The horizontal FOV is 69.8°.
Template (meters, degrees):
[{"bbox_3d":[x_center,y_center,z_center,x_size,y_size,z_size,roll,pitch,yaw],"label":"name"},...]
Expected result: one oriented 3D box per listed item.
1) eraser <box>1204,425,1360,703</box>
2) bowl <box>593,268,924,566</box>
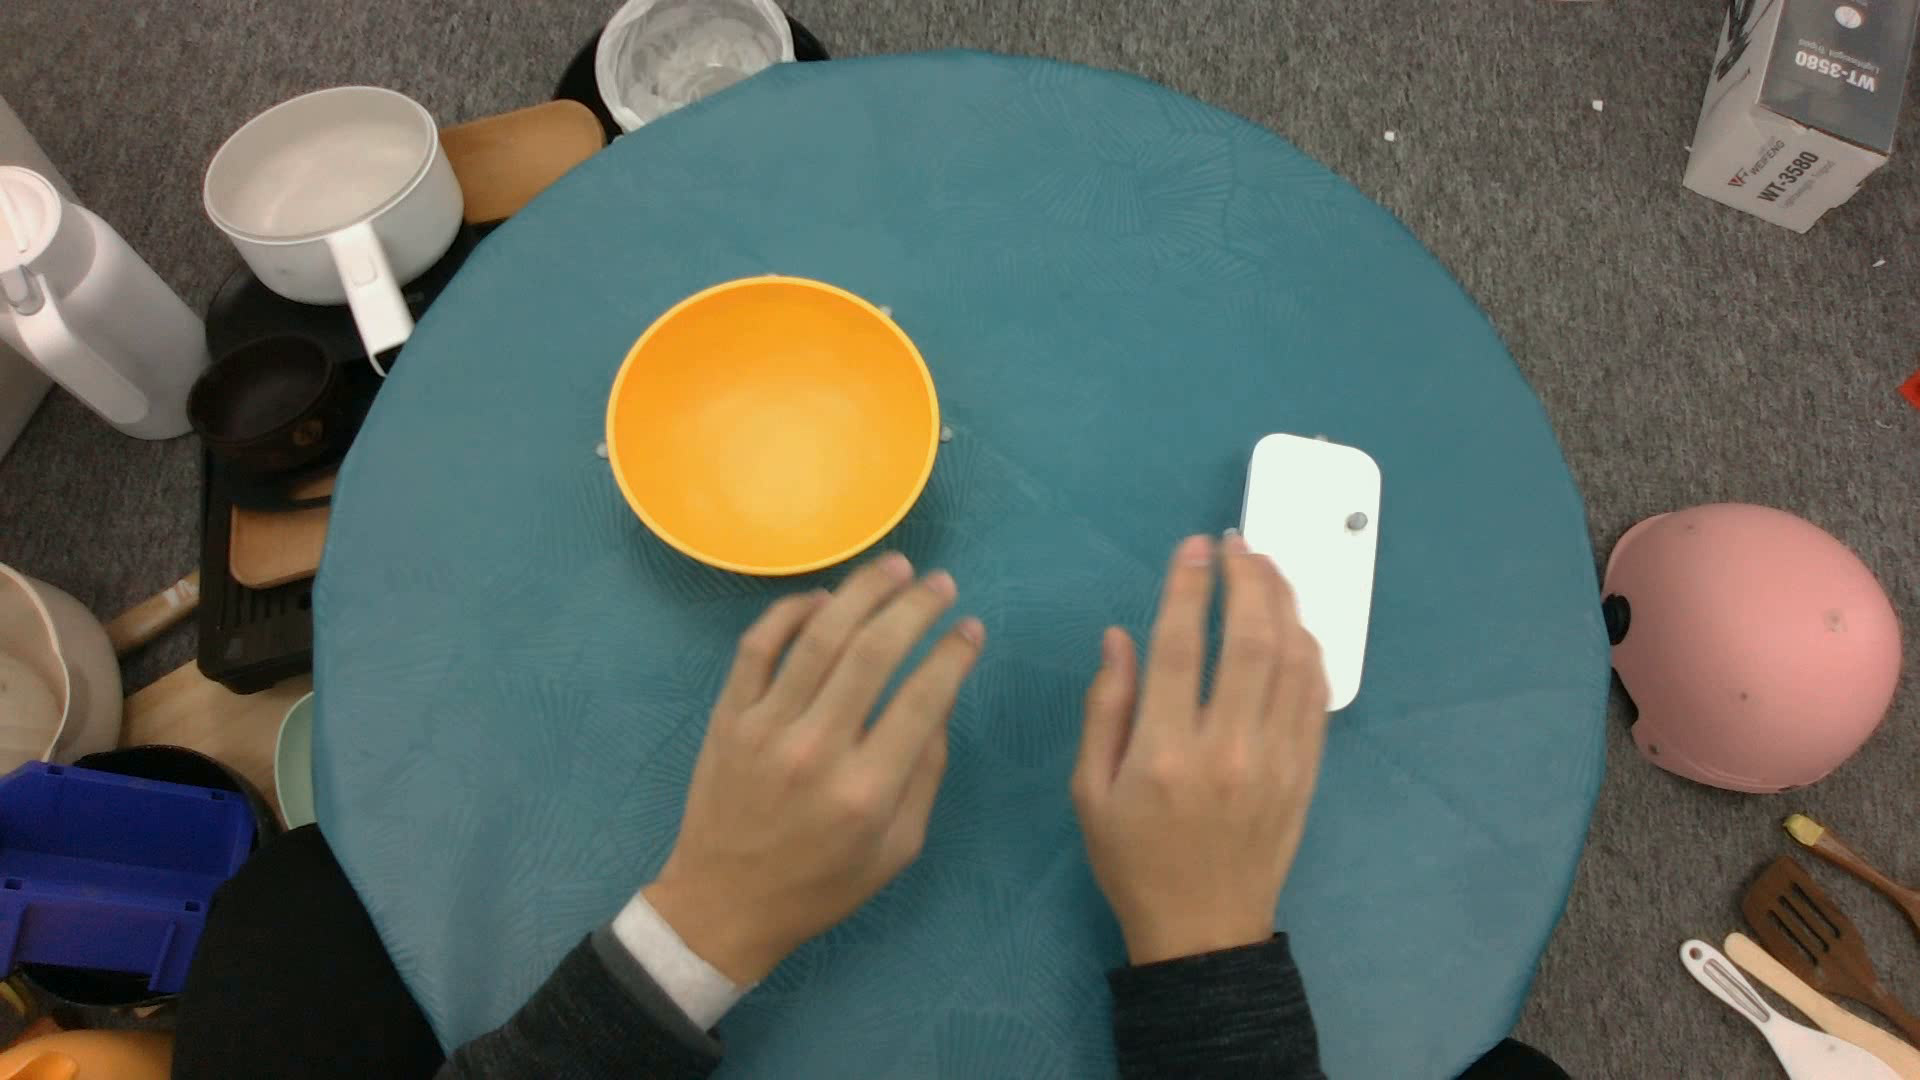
[{"bbox_3d":[0.149,0.009,0.642,0.063,0.034,0.132,12,68,1],"label":"eraser"},{"bbox_3d":[-0.089,-0.048,0.630,0.145,0.060,0.146,1,70,-3],"label":"bowl"}]
